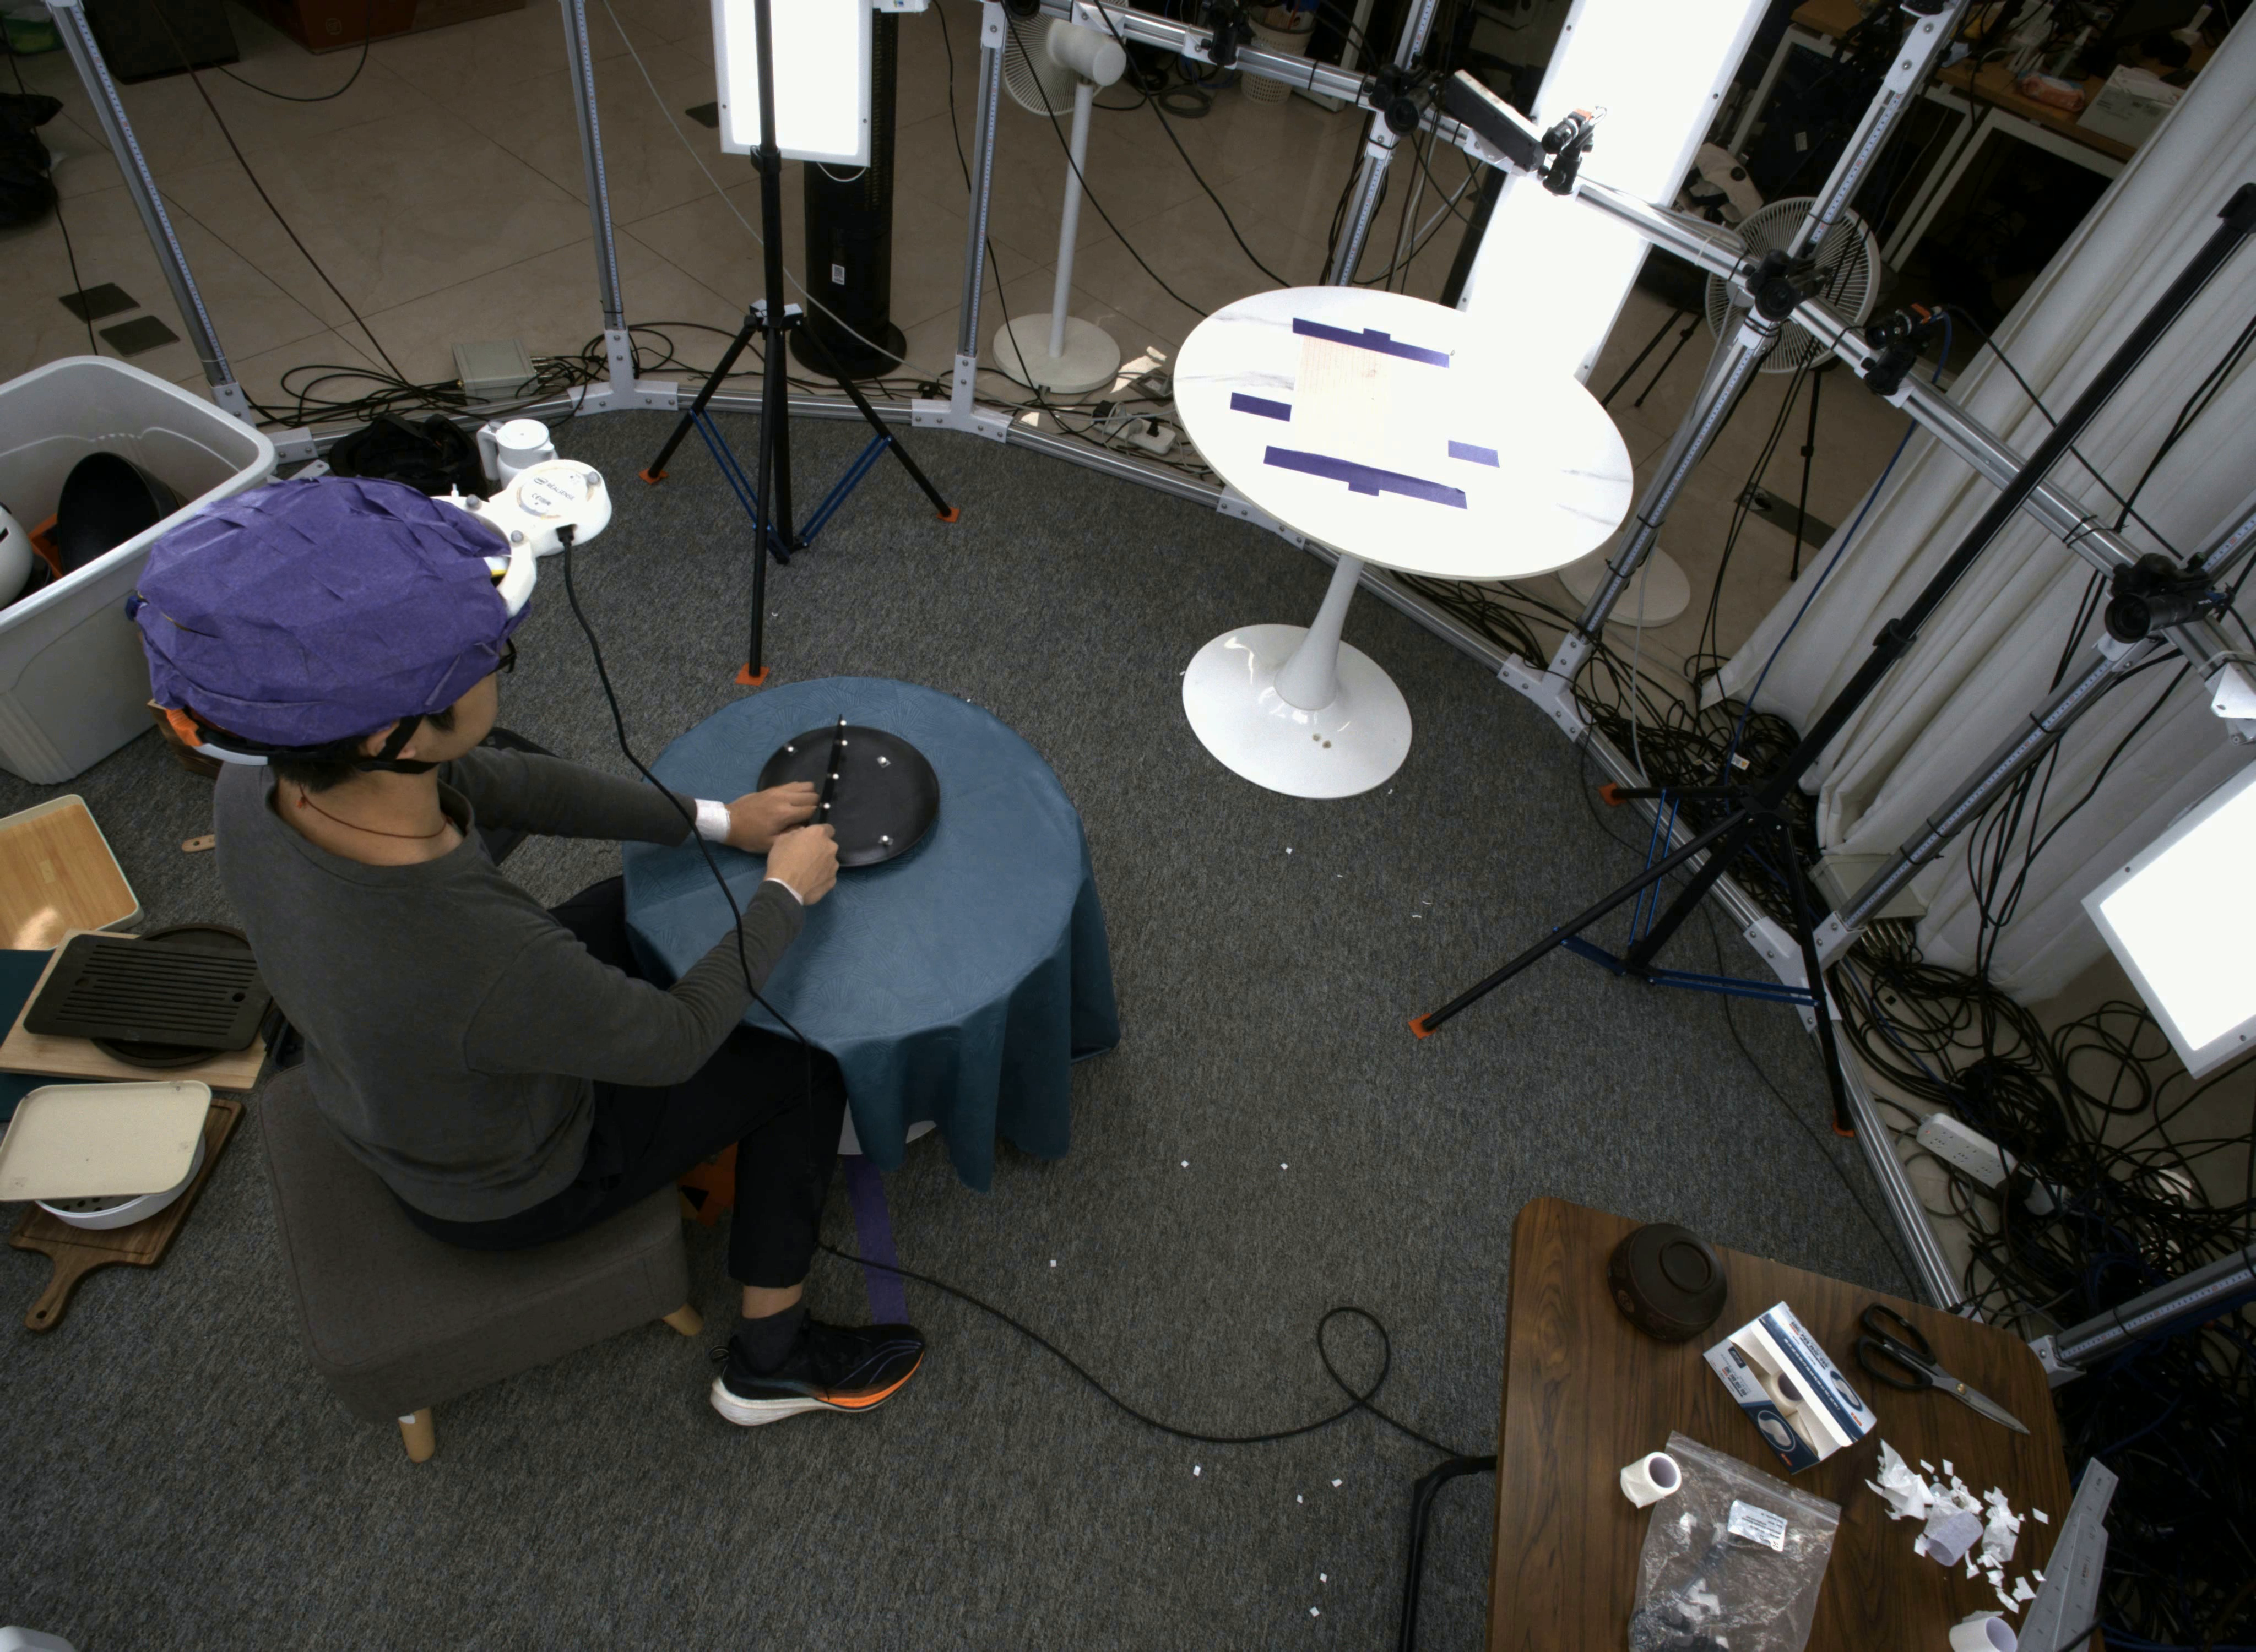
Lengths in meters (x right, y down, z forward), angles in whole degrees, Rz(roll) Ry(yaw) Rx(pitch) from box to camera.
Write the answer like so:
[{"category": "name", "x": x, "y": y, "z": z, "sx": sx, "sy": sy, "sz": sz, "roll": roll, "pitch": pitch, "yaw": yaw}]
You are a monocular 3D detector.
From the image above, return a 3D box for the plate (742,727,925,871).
[{"category": "plate", "x": -0.396, "y": -0.036, "z": 1.755, "sx": 0.244, "sy": 0.024, "sz": 0.240, "roll": 8, "pitch": 53, "yaw": -8}]

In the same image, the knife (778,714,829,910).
[{"category": "knife", "x": -0.418, "y": -0.019, "z": 1.689, "sx": 0.021, "sy": 0.083, "sz": 0.296, "roll": 5, "pitch": 49, "yaw": -4}]
